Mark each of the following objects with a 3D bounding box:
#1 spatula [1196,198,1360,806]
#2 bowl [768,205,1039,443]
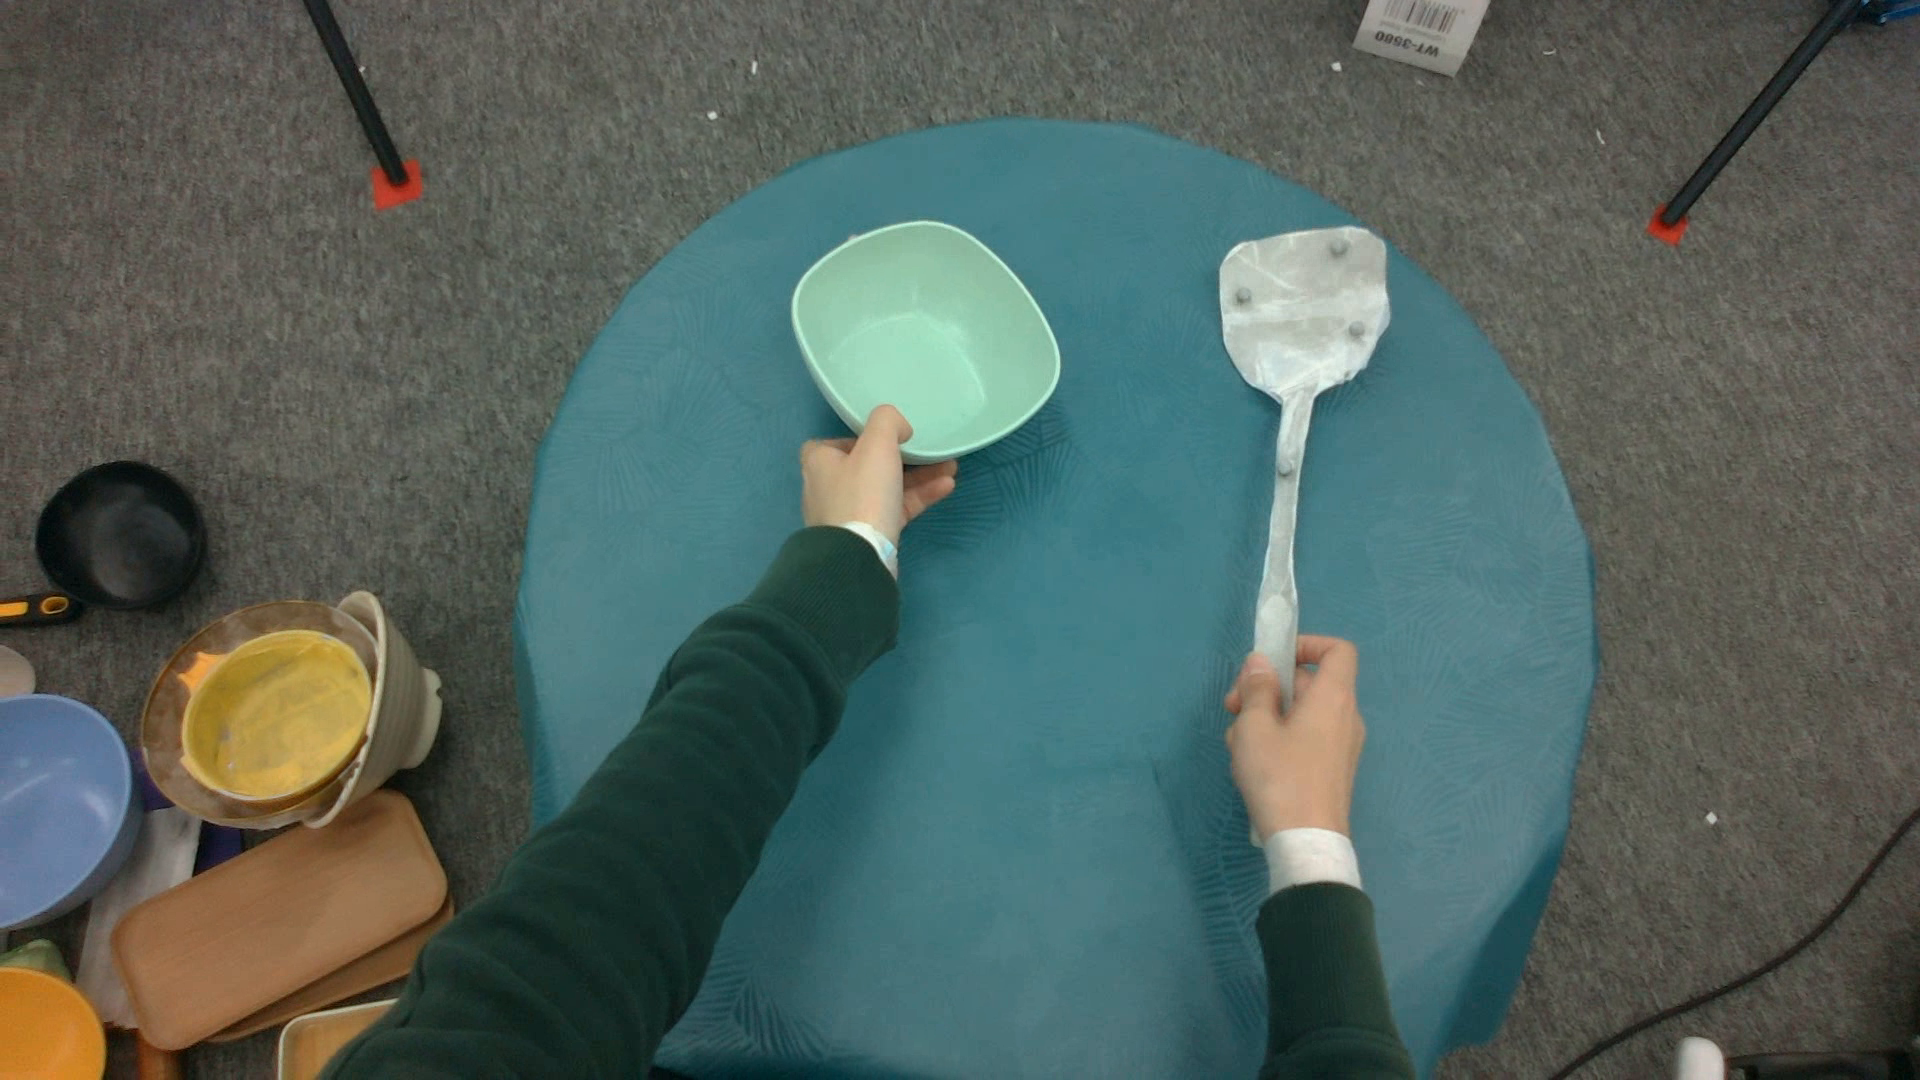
[{"bbox_3d":[0.164,-0.035,0.755,0.098,0.044,0.366,-2,59,25],"label":"spatula"},{"bbox_3d":[-0.036,-0.110,0.763,0.151,0.058,0.152,8,61,-15],"label":"bowl"}]
